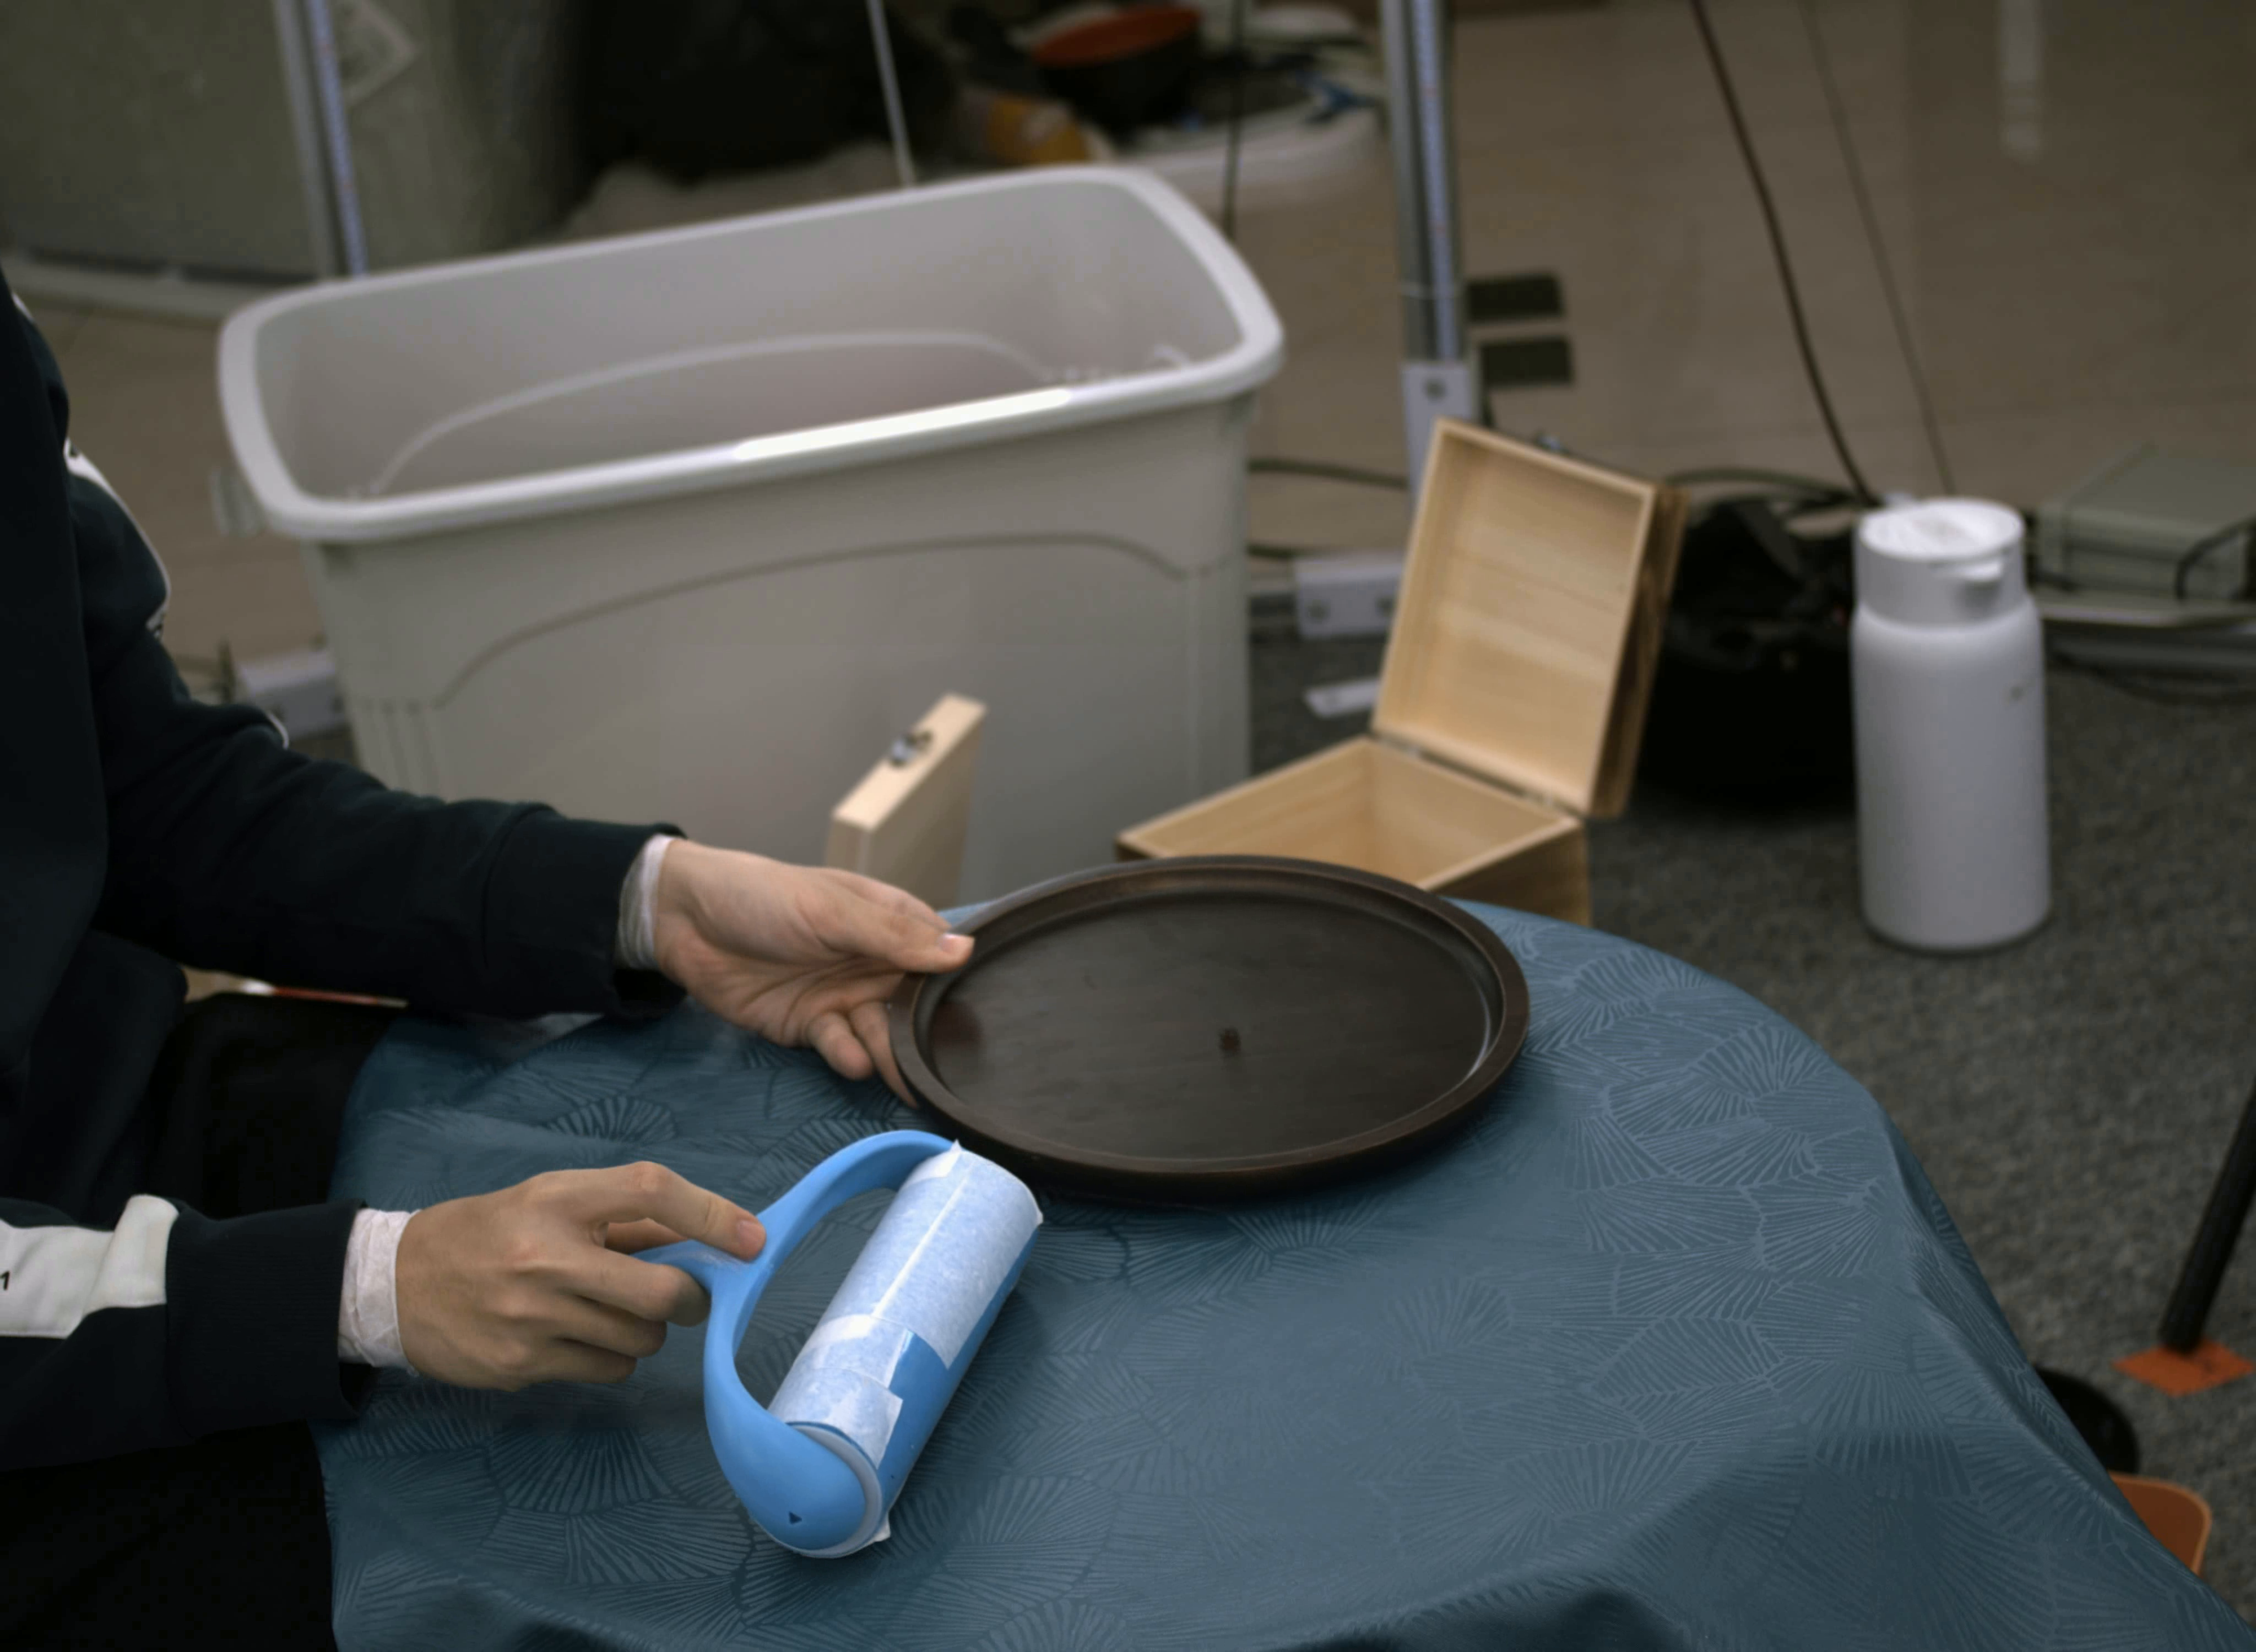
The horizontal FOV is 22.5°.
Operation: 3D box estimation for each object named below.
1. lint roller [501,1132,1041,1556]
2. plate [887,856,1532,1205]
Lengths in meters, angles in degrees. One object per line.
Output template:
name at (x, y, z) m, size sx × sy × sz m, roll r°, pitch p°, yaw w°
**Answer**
lint roller at (-0.139, 0.178, 2.015) m, size 0.180 × 0.069 × 0.225 m, roll 5°, pitch 29°, yaw 11°
plate at (0.032, 0.079, 2.217) m, size 0.254 × 0.029 × 0.251 m, roll -2°, pitch 27°, yaw 1°
